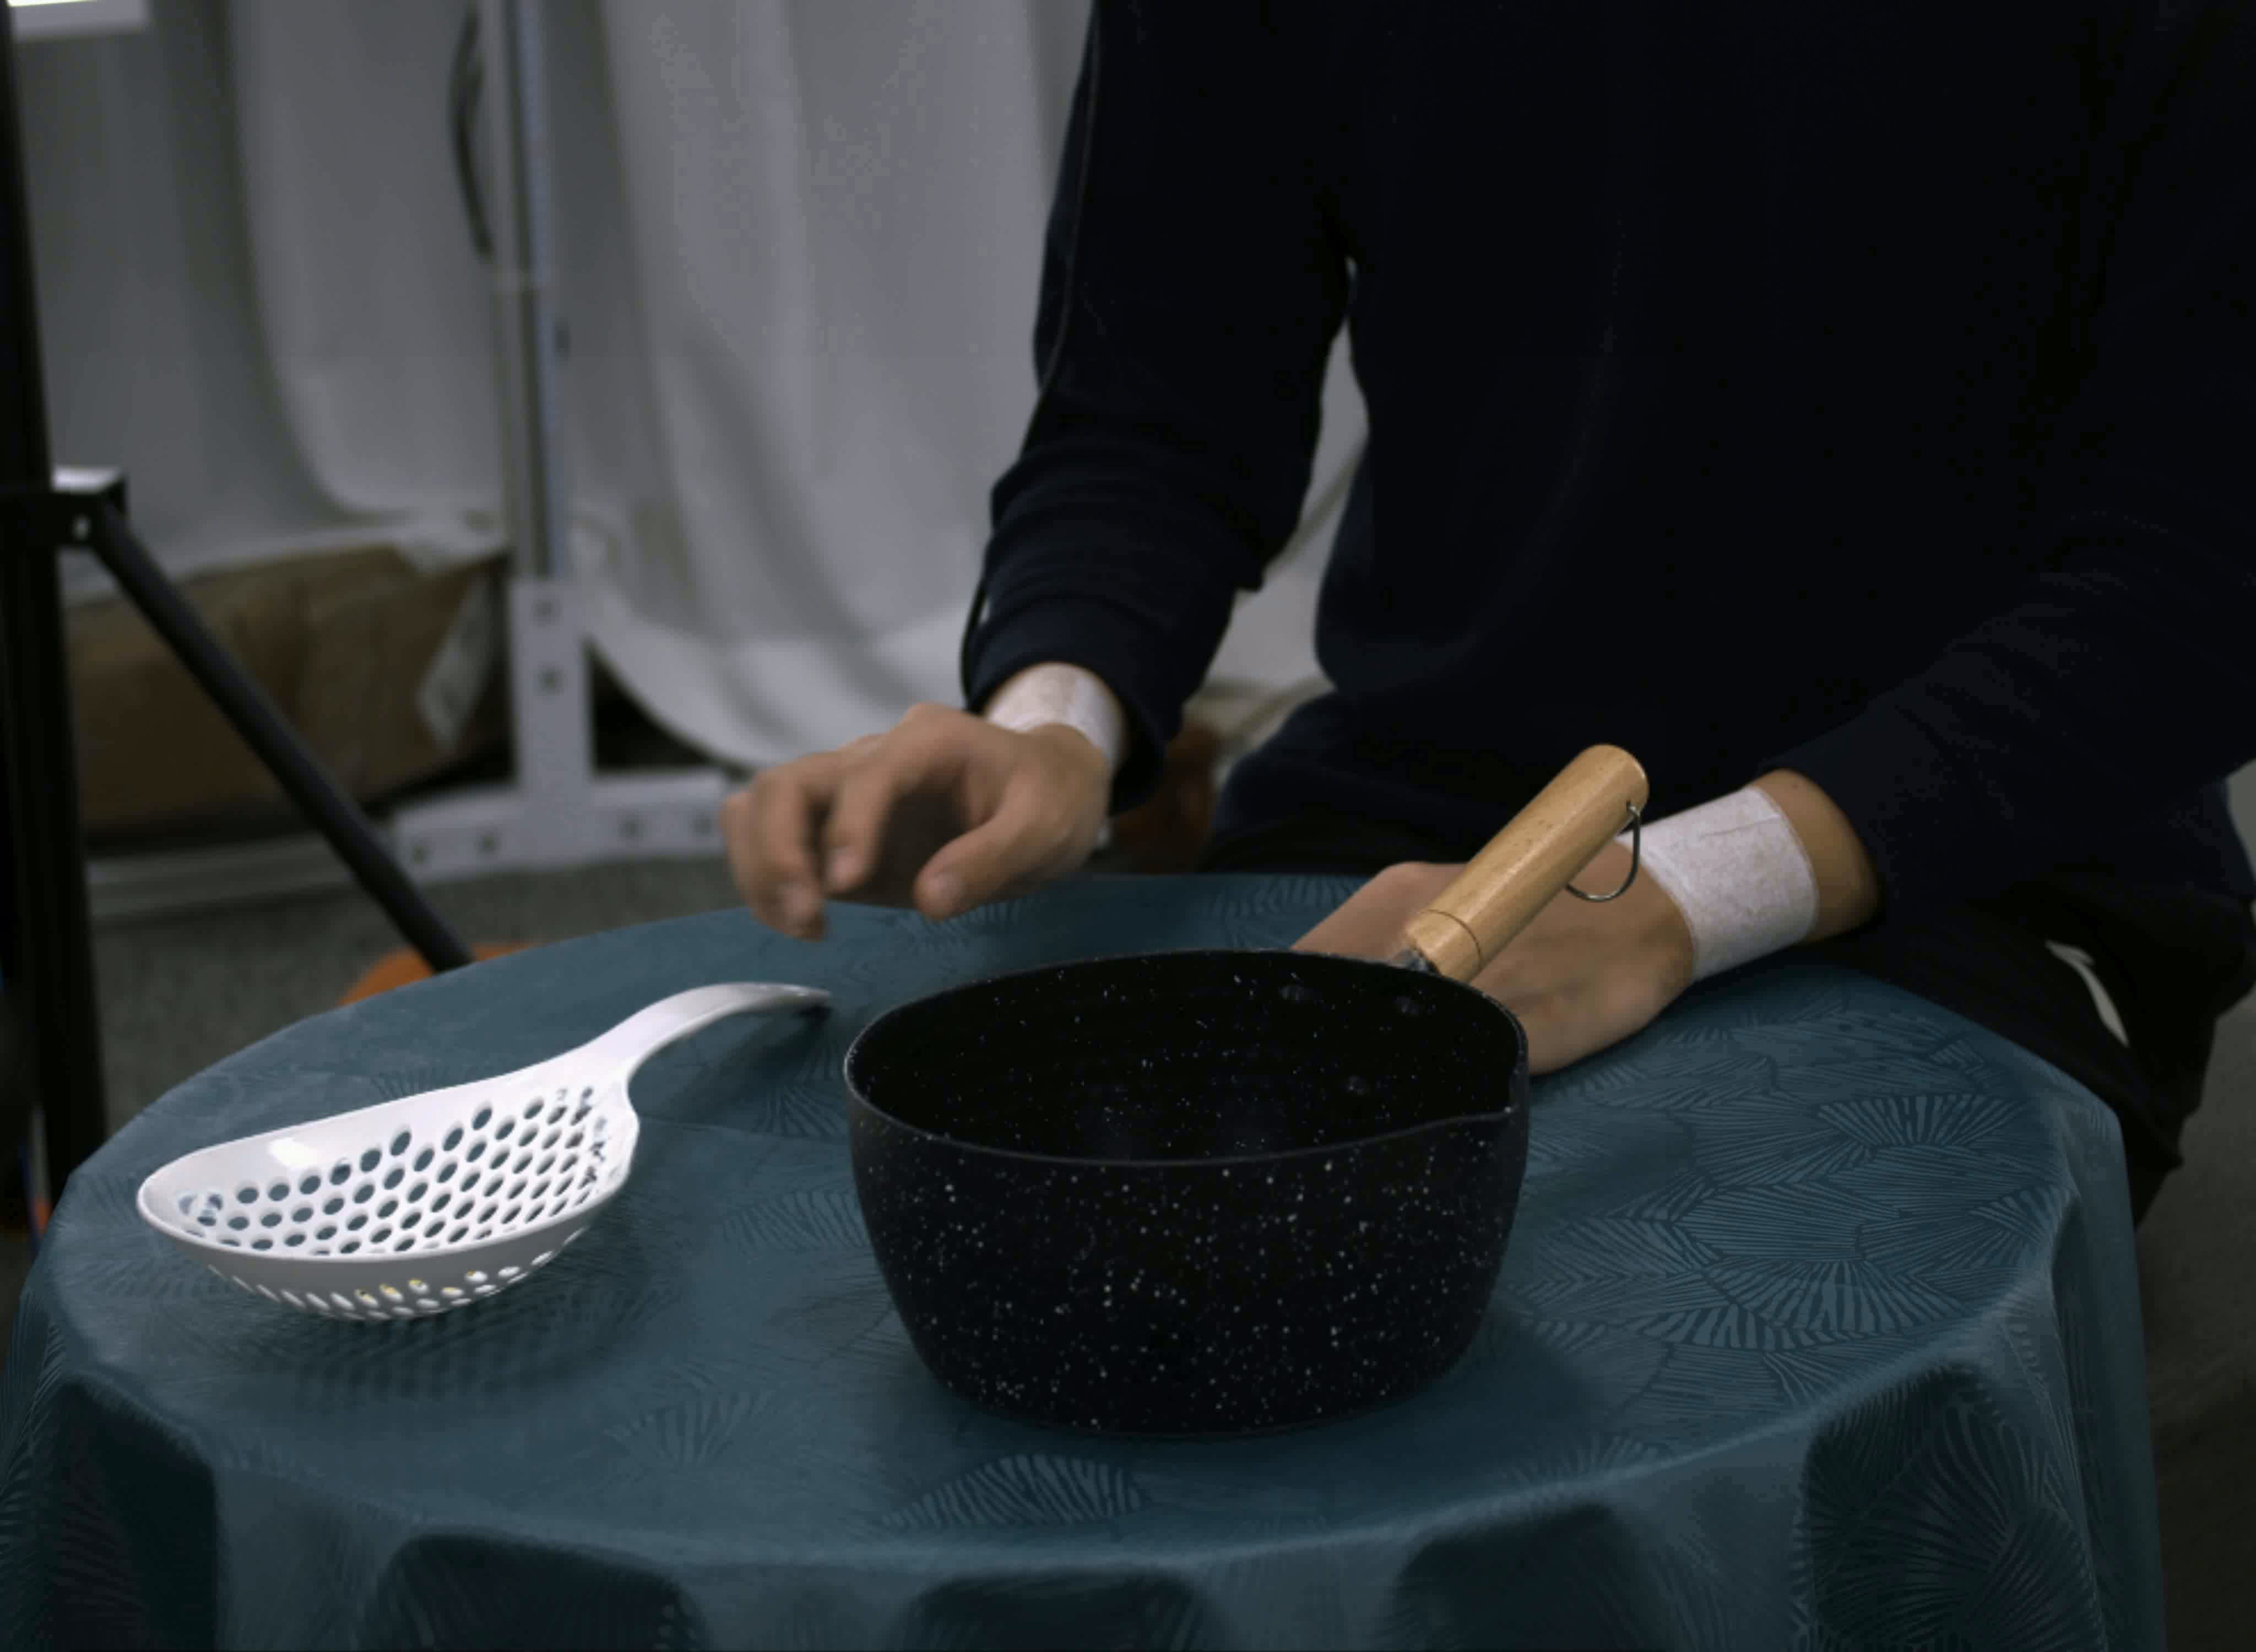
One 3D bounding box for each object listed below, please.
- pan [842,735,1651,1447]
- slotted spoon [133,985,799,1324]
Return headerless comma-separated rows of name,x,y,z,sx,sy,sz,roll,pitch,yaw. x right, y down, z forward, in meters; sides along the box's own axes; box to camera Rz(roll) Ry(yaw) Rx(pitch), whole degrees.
pan,0.058,0.069,1.489,0.211,0.108,0.336,6,19,32
slotted spoon,-0.167,0.084,1.591,0.138,0.050,0.344,2,18,21
